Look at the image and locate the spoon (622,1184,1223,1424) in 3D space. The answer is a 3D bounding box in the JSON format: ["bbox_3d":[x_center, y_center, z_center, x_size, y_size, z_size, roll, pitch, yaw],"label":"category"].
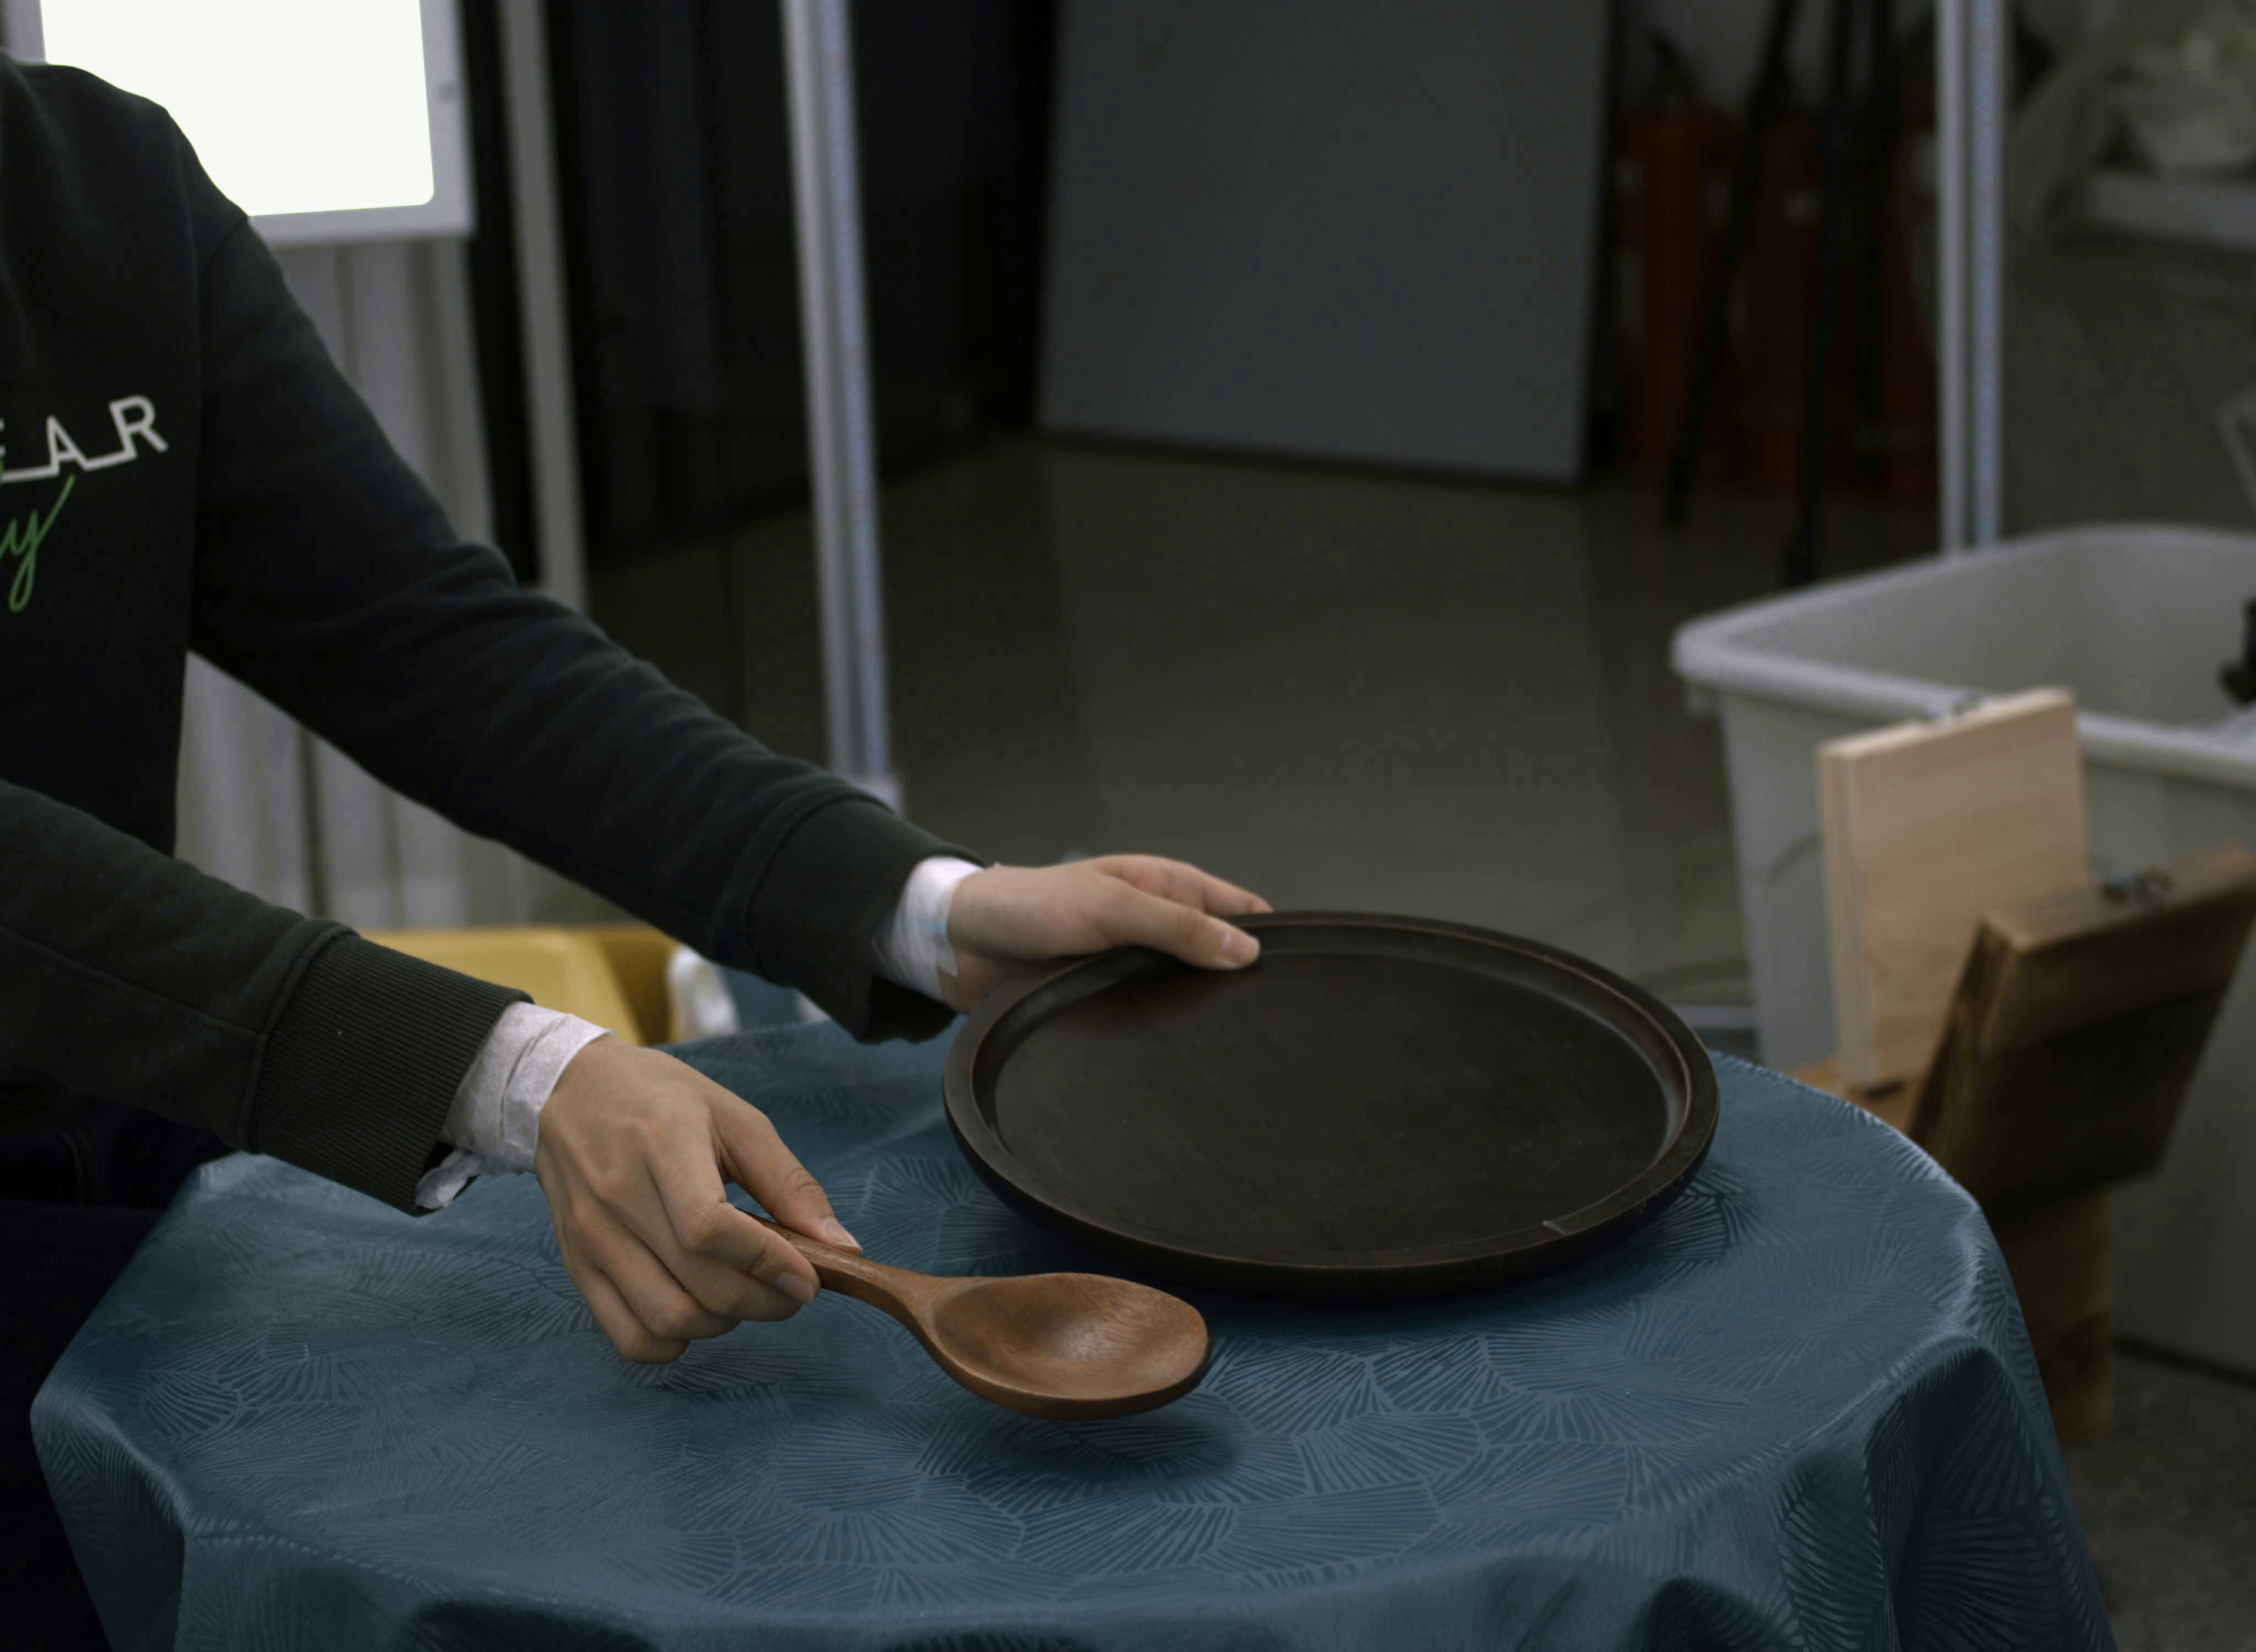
[{"bbox_3d":[-0.065,0.139,1.590,0.217,0.017,0.074,15,30,35],"label":"spoon"}]

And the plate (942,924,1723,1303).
[{"bbox_3d":[0.066,0.090,1.735,0.251,0.029,0.255,0,24,-1],"label":"plate"}]
